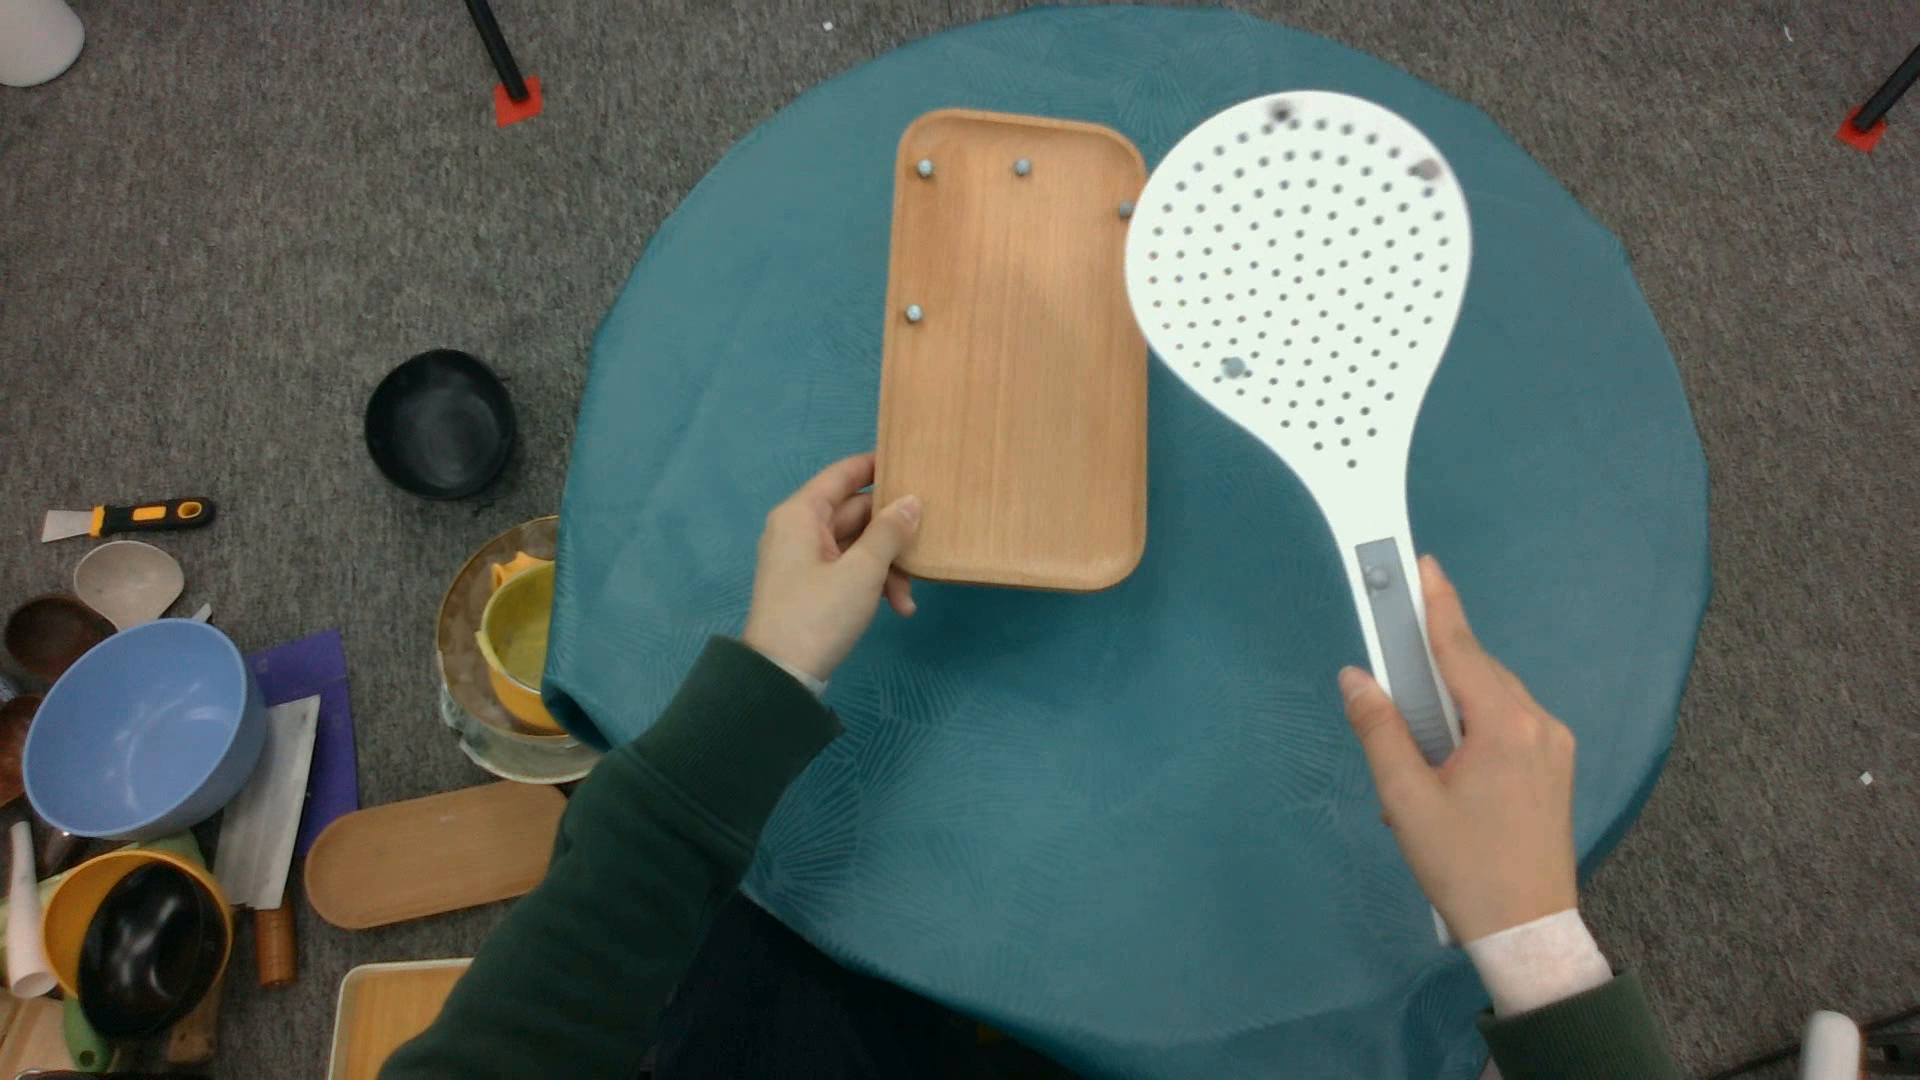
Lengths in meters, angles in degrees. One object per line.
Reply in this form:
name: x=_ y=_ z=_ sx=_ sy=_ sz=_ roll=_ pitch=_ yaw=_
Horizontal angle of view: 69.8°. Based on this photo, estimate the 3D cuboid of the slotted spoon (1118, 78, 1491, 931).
slotted spoon: x=0.157 y=-0.021 z=0.557 sx=0.136 sy=0.046 sz=0.350 roll=-15 pitch=75 yaw=15

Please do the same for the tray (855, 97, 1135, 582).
tray: x=0.019 y=-0.101 z=0.662 sx=0.130 sy=0.023 sz=0.251 roll=4 pitch=71 yaw=-5
